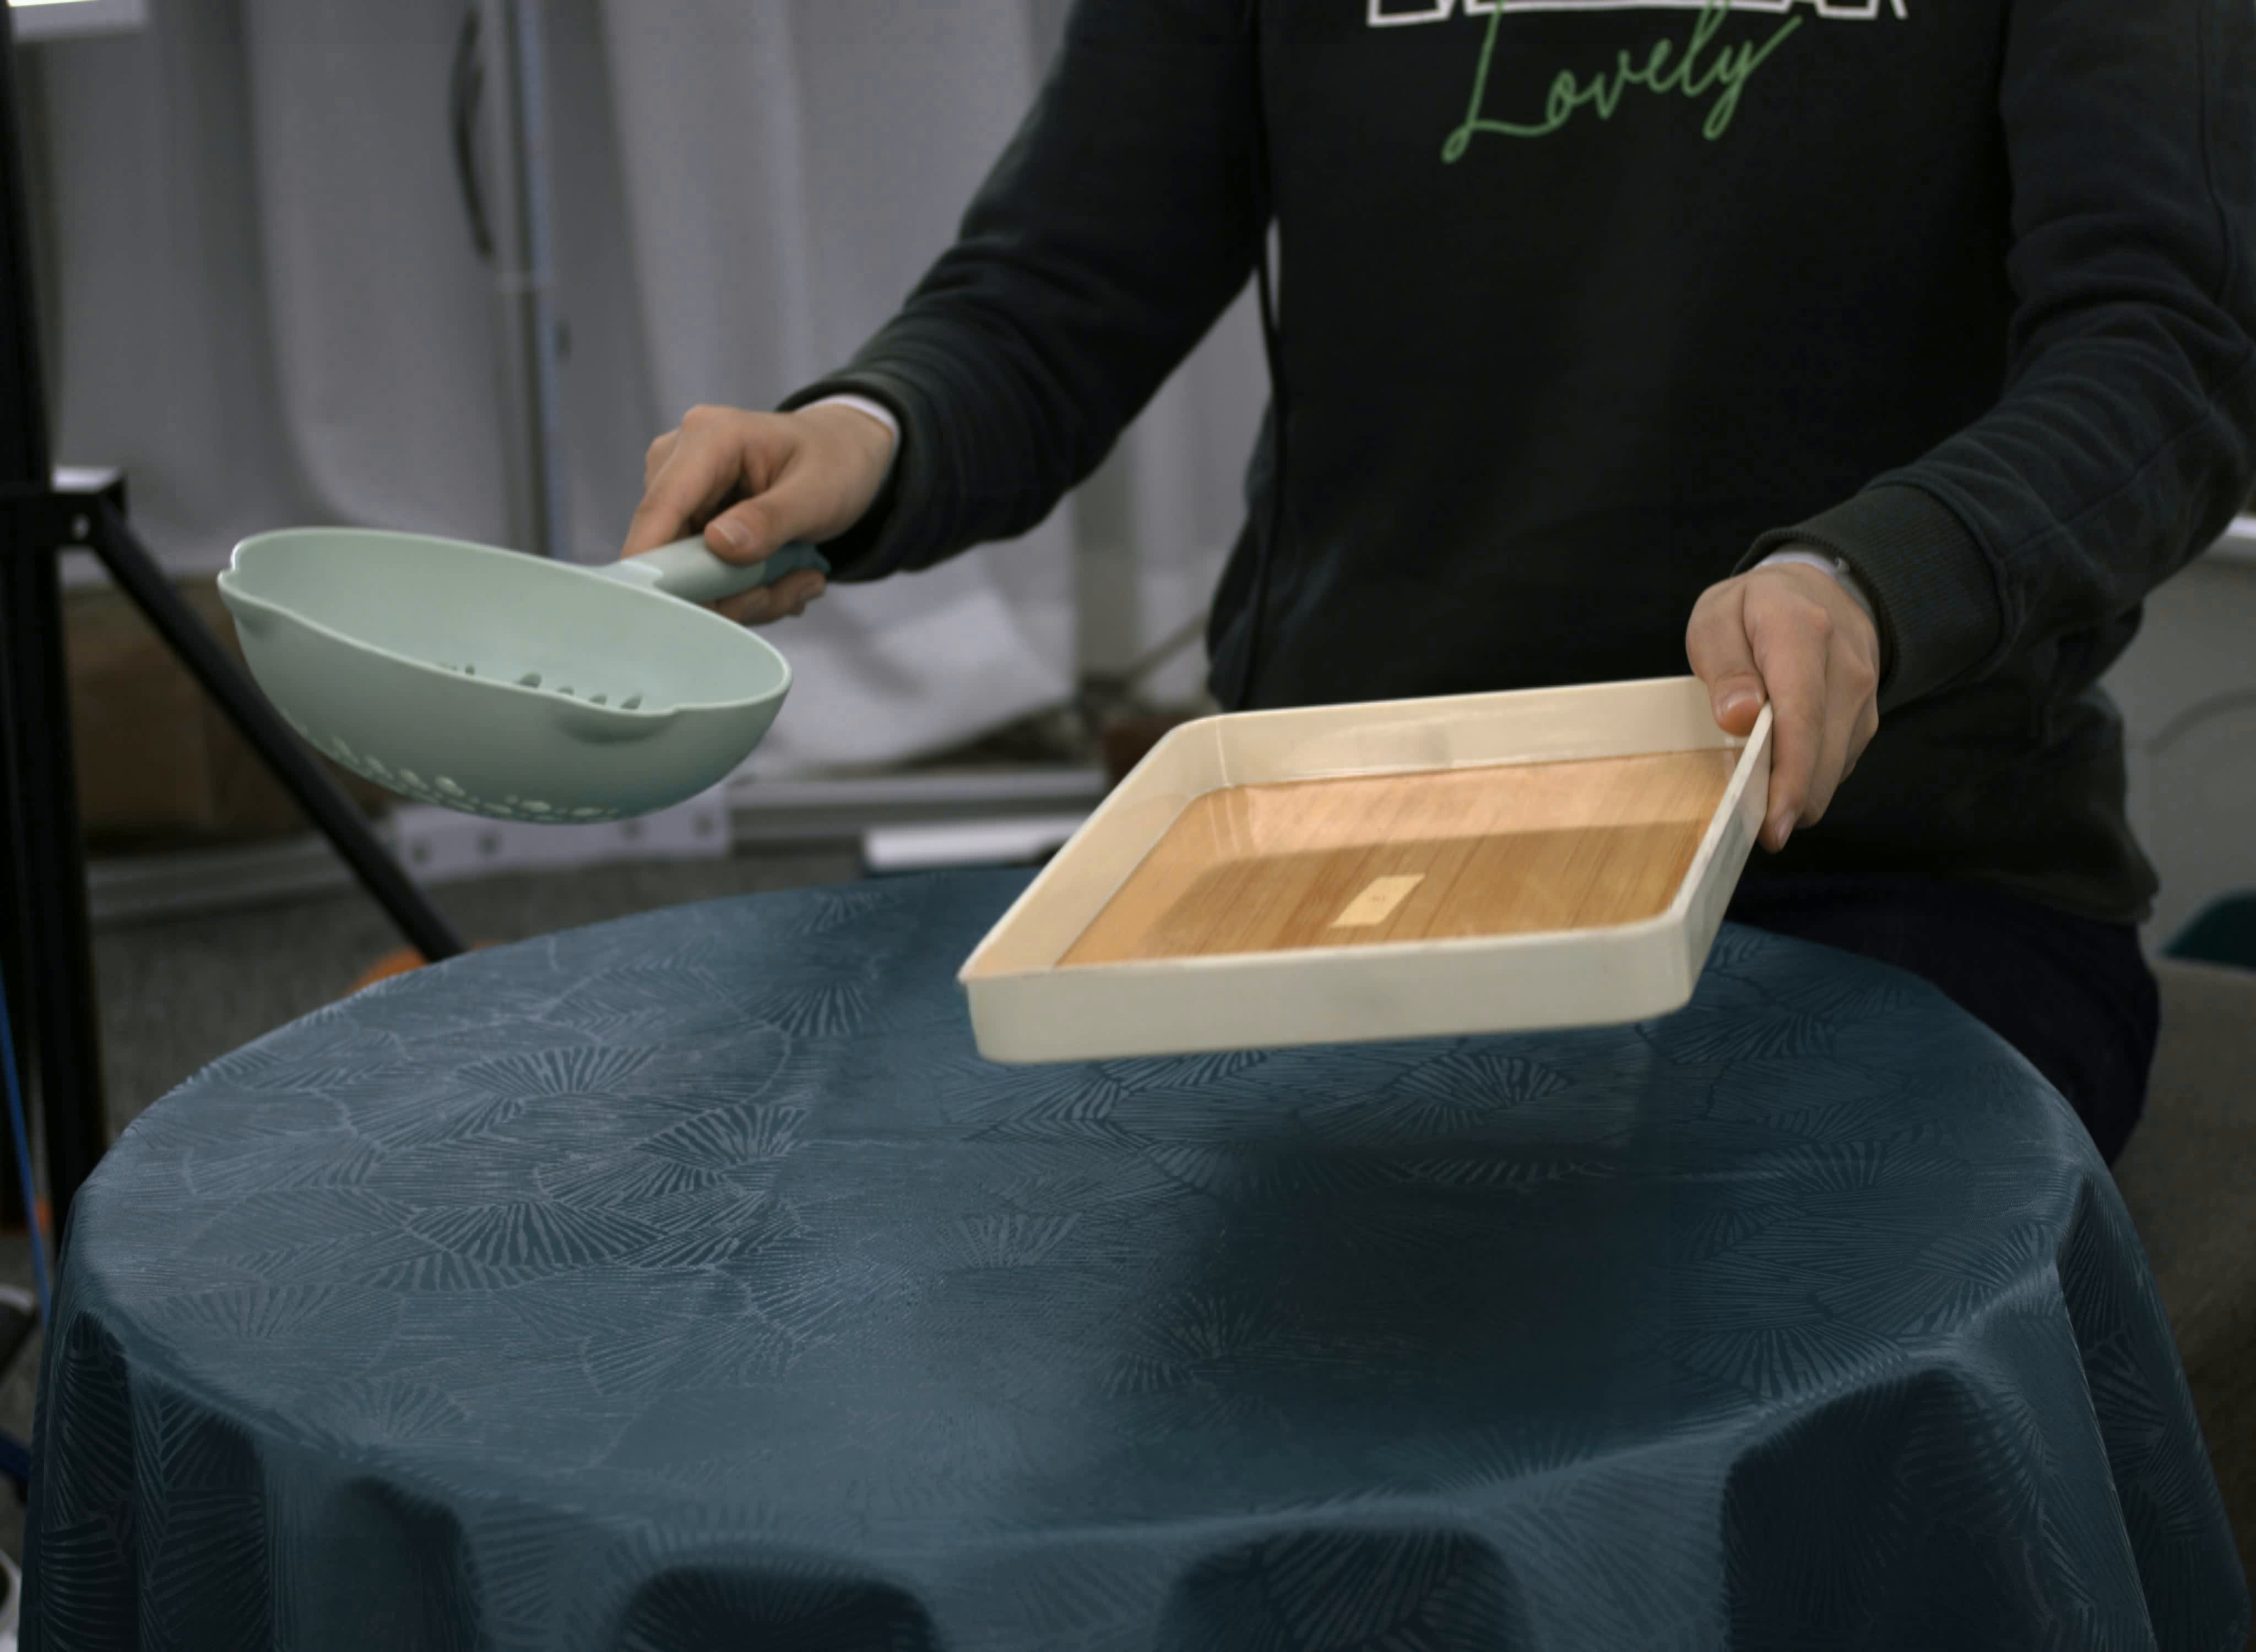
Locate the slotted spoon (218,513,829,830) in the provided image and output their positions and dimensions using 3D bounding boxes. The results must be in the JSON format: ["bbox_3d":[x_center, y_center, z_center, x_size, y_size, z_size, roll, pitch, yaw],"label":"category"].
[{"bbox_3d":[-0.157,-0.066,1.667,0.170,0.075,0.355,17,22,13],"label":"slotted spoon"}]

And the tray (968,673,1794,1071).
[{"bbox_3d":[0.079,0.010,1.478,0.193,0.027,0.298,-4,14,15],"label":"tray"}]
